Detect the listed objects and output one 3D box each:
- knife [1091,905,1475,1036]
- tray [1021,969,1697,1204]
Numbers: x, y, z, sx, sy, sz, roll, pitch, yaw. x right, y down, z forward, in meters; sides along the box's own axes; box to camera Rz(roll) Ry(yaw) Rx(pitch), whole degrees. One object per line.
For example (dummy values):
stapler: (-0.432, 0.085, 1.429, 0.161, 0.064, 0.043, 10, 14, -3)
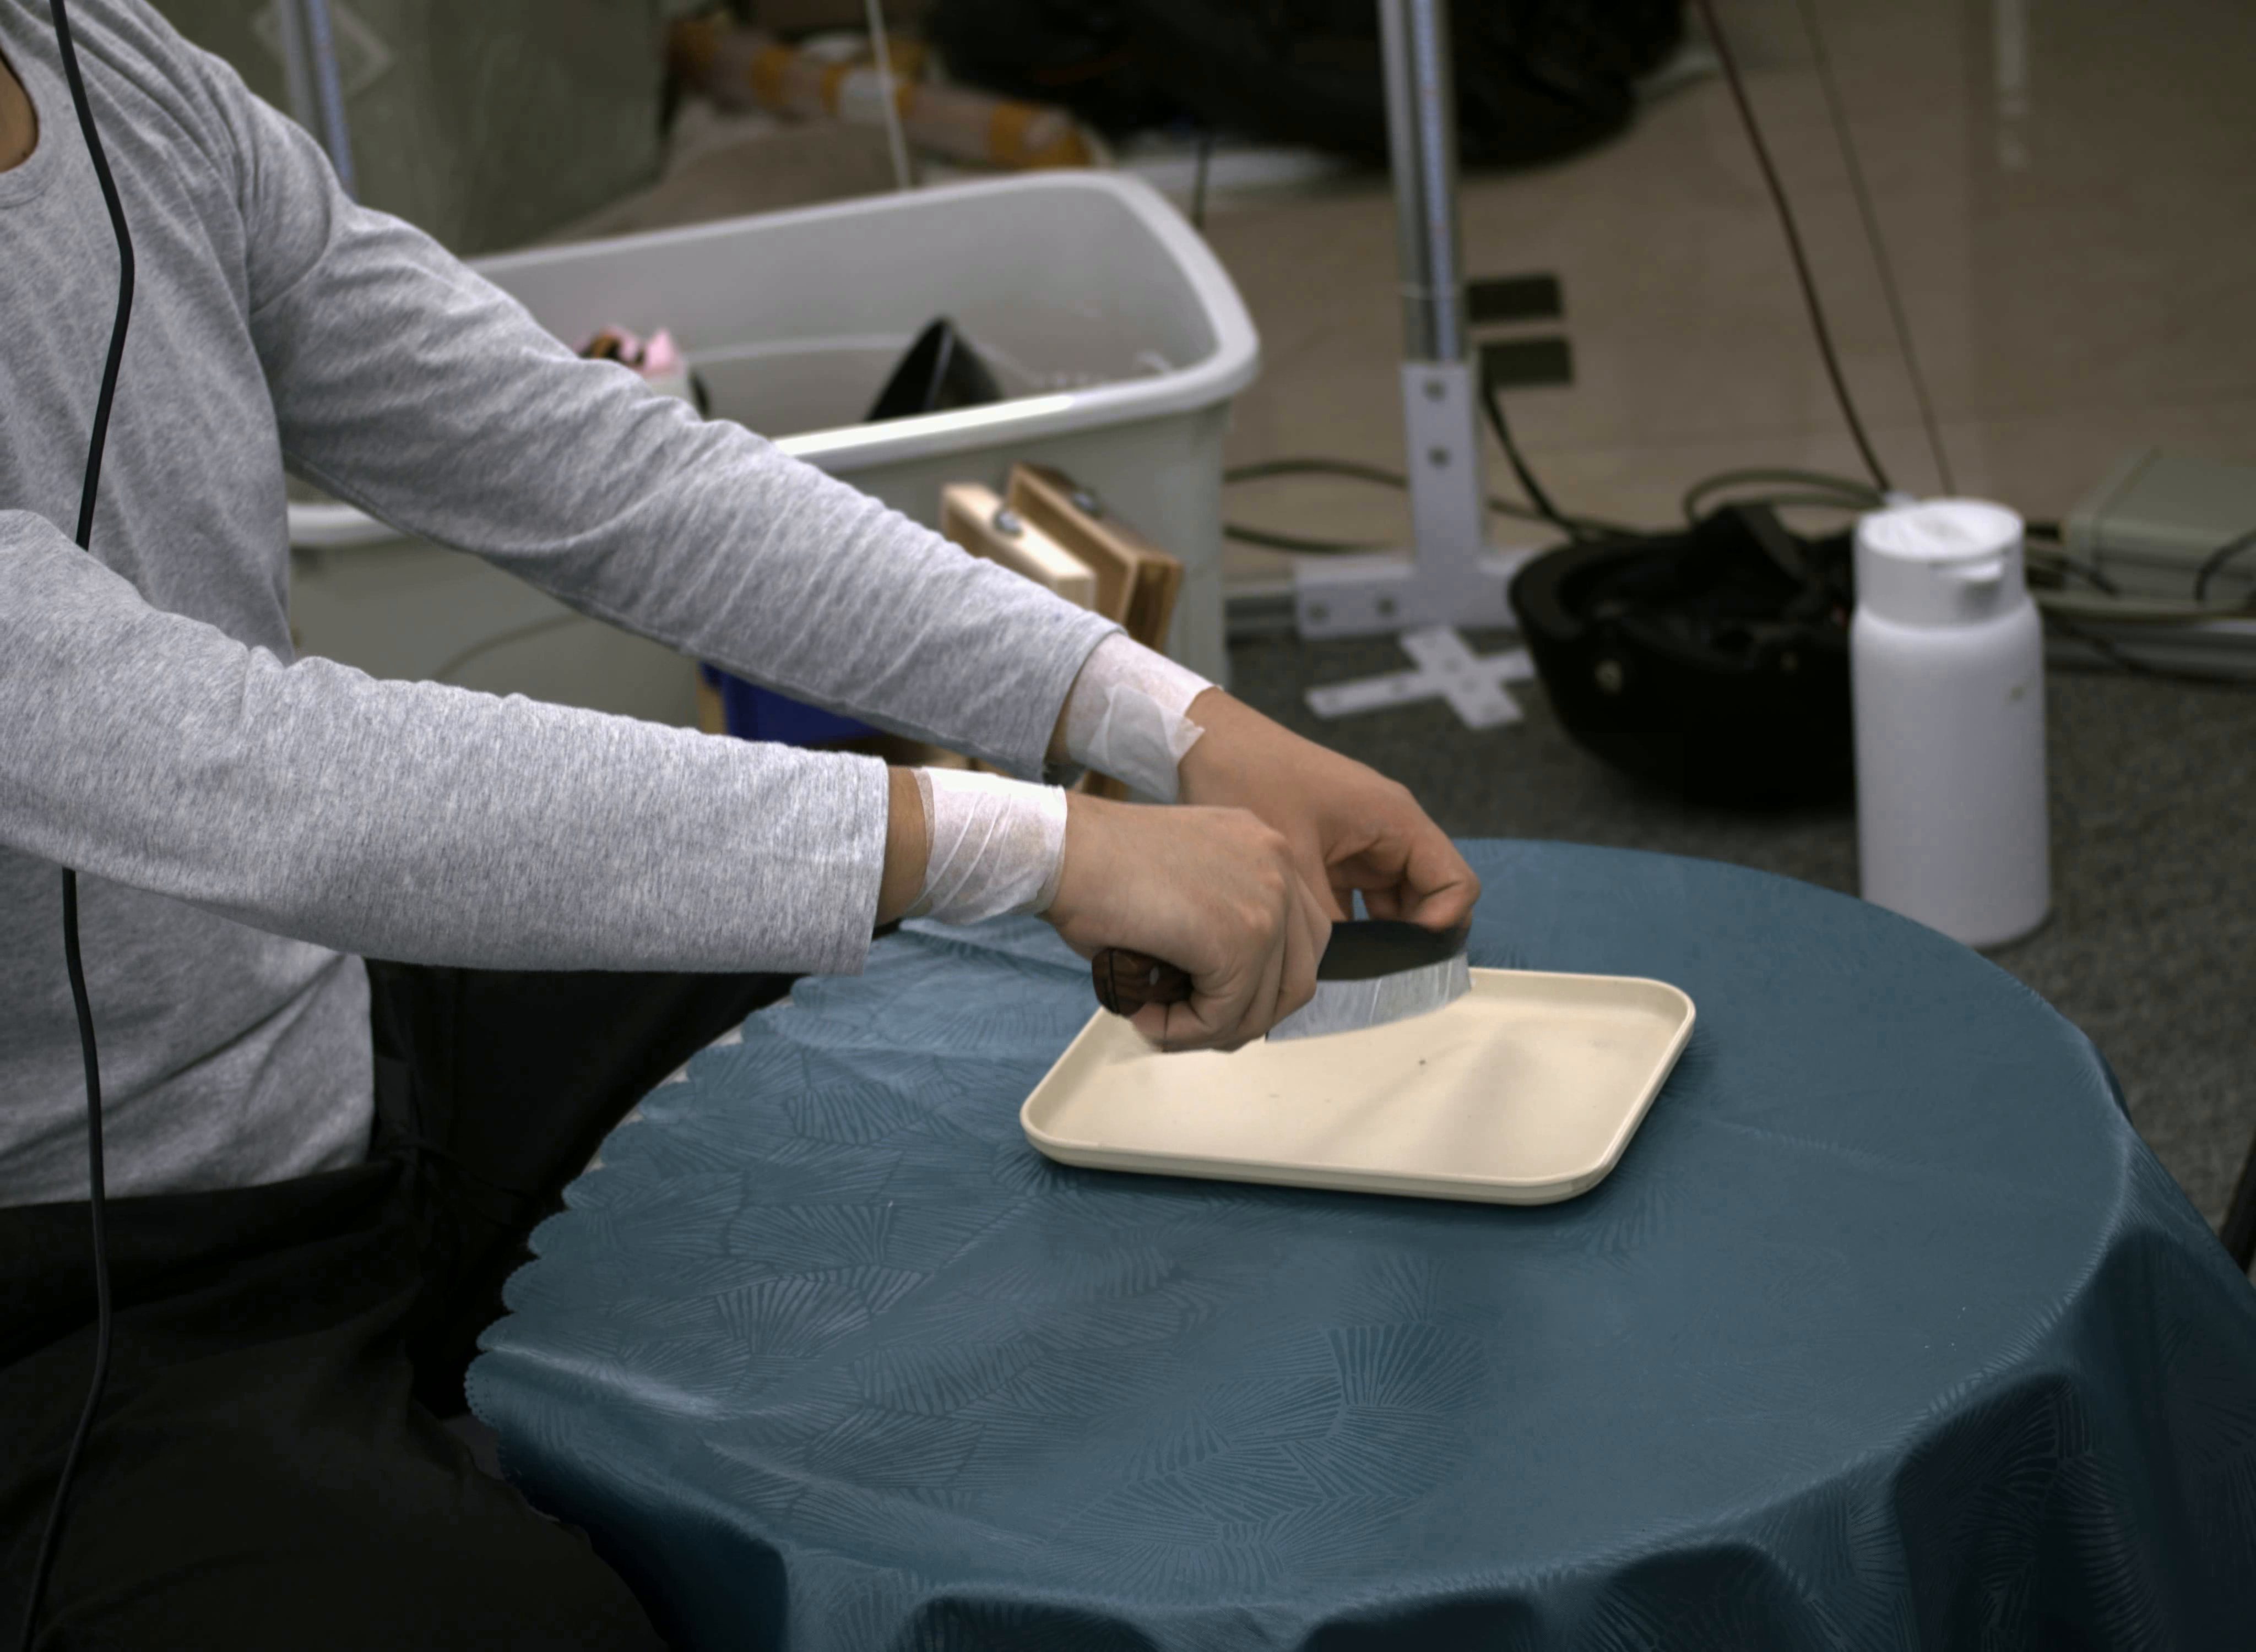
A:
knife: (0.064, 0.053, 2.096, 0.020, 0.050, 0.289, 12, 5, 29)
tray: (0.091, 0.097, 2.198, 0.239, 0.018, 0.169, 4, 26, 22)
